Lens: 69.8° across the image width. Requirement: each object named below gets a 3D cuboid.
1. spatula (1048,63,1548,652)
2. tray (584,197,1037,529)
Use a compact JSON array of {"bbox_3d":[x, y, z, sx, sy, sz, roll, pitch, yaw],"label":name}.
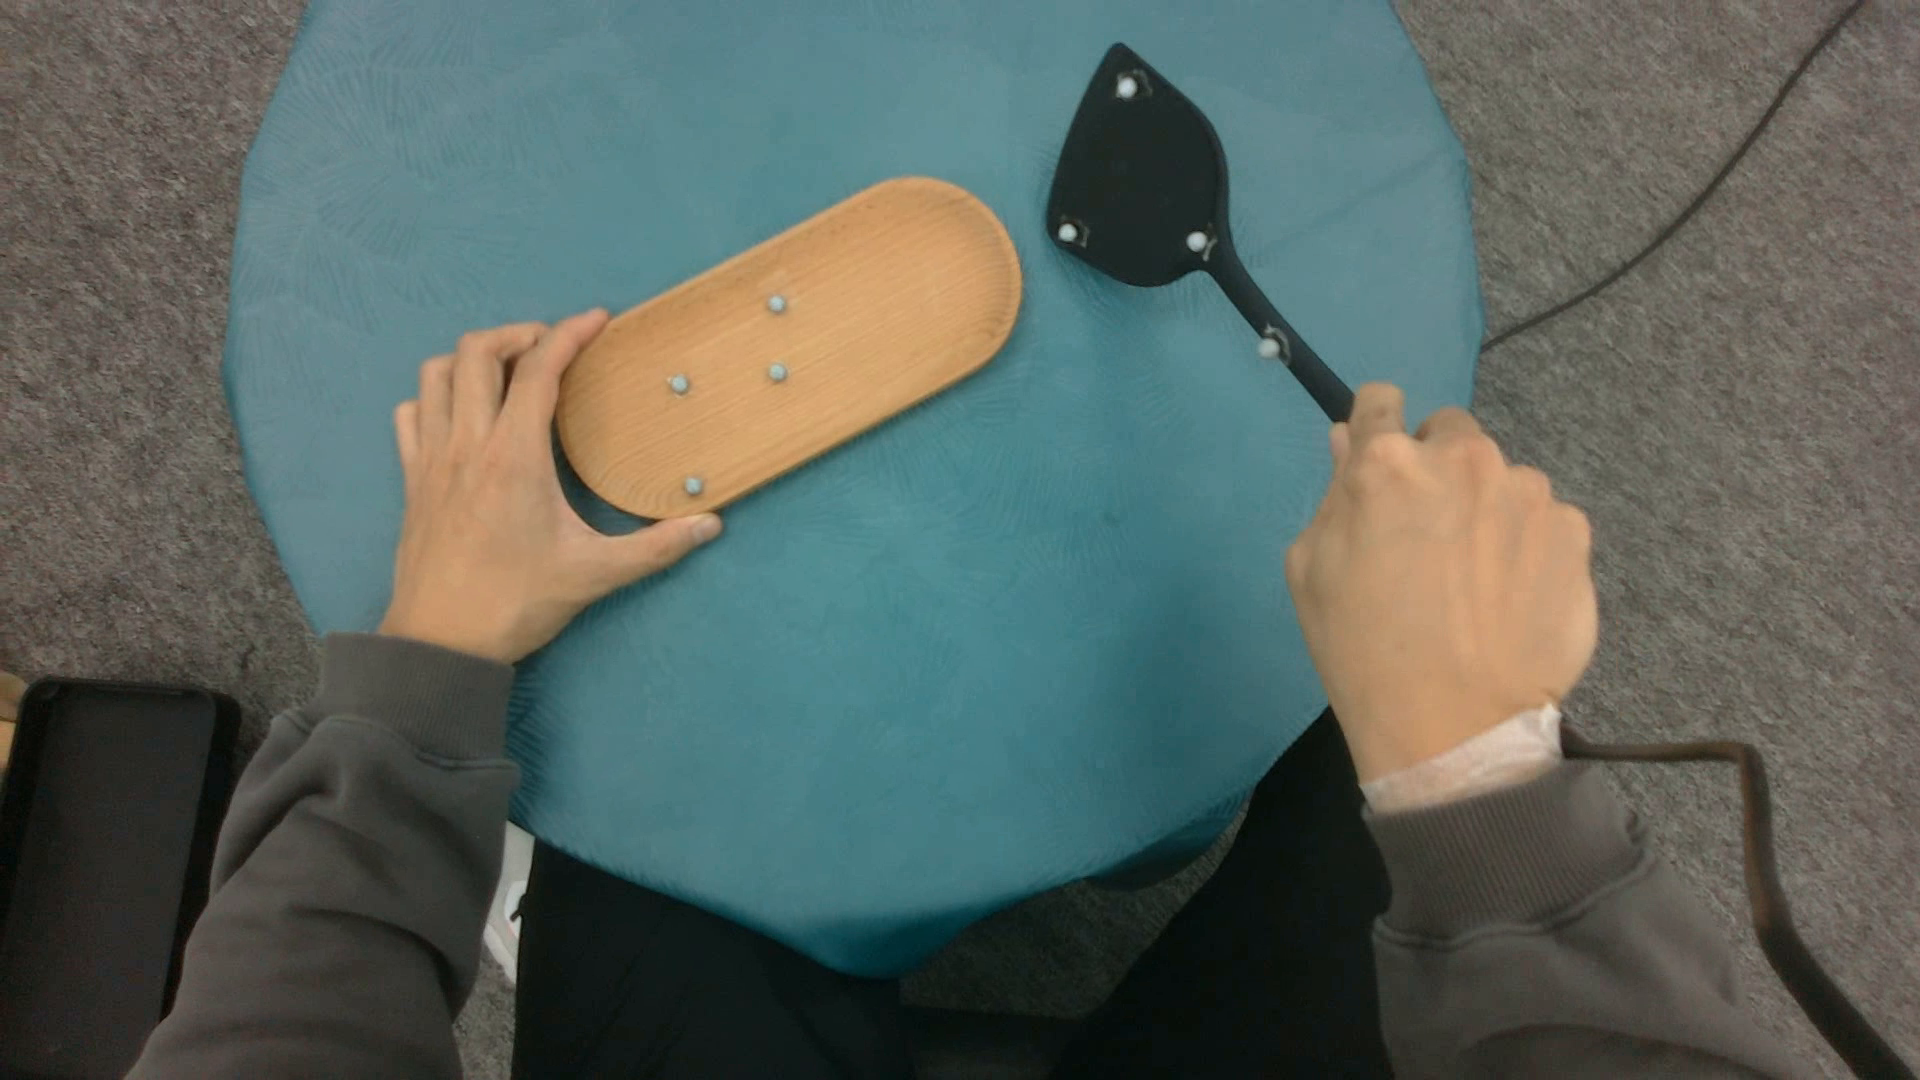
[{"bbox_3d":[0.126,-0.076,0.560,0.040,0.099,0.327,-4,46,-25],"label":"spatula"},{"bbox_3d":[-0.071,-0.086,0.665,0.231,0.020,0.102,-28,83,-6],"label":"tray"}]
